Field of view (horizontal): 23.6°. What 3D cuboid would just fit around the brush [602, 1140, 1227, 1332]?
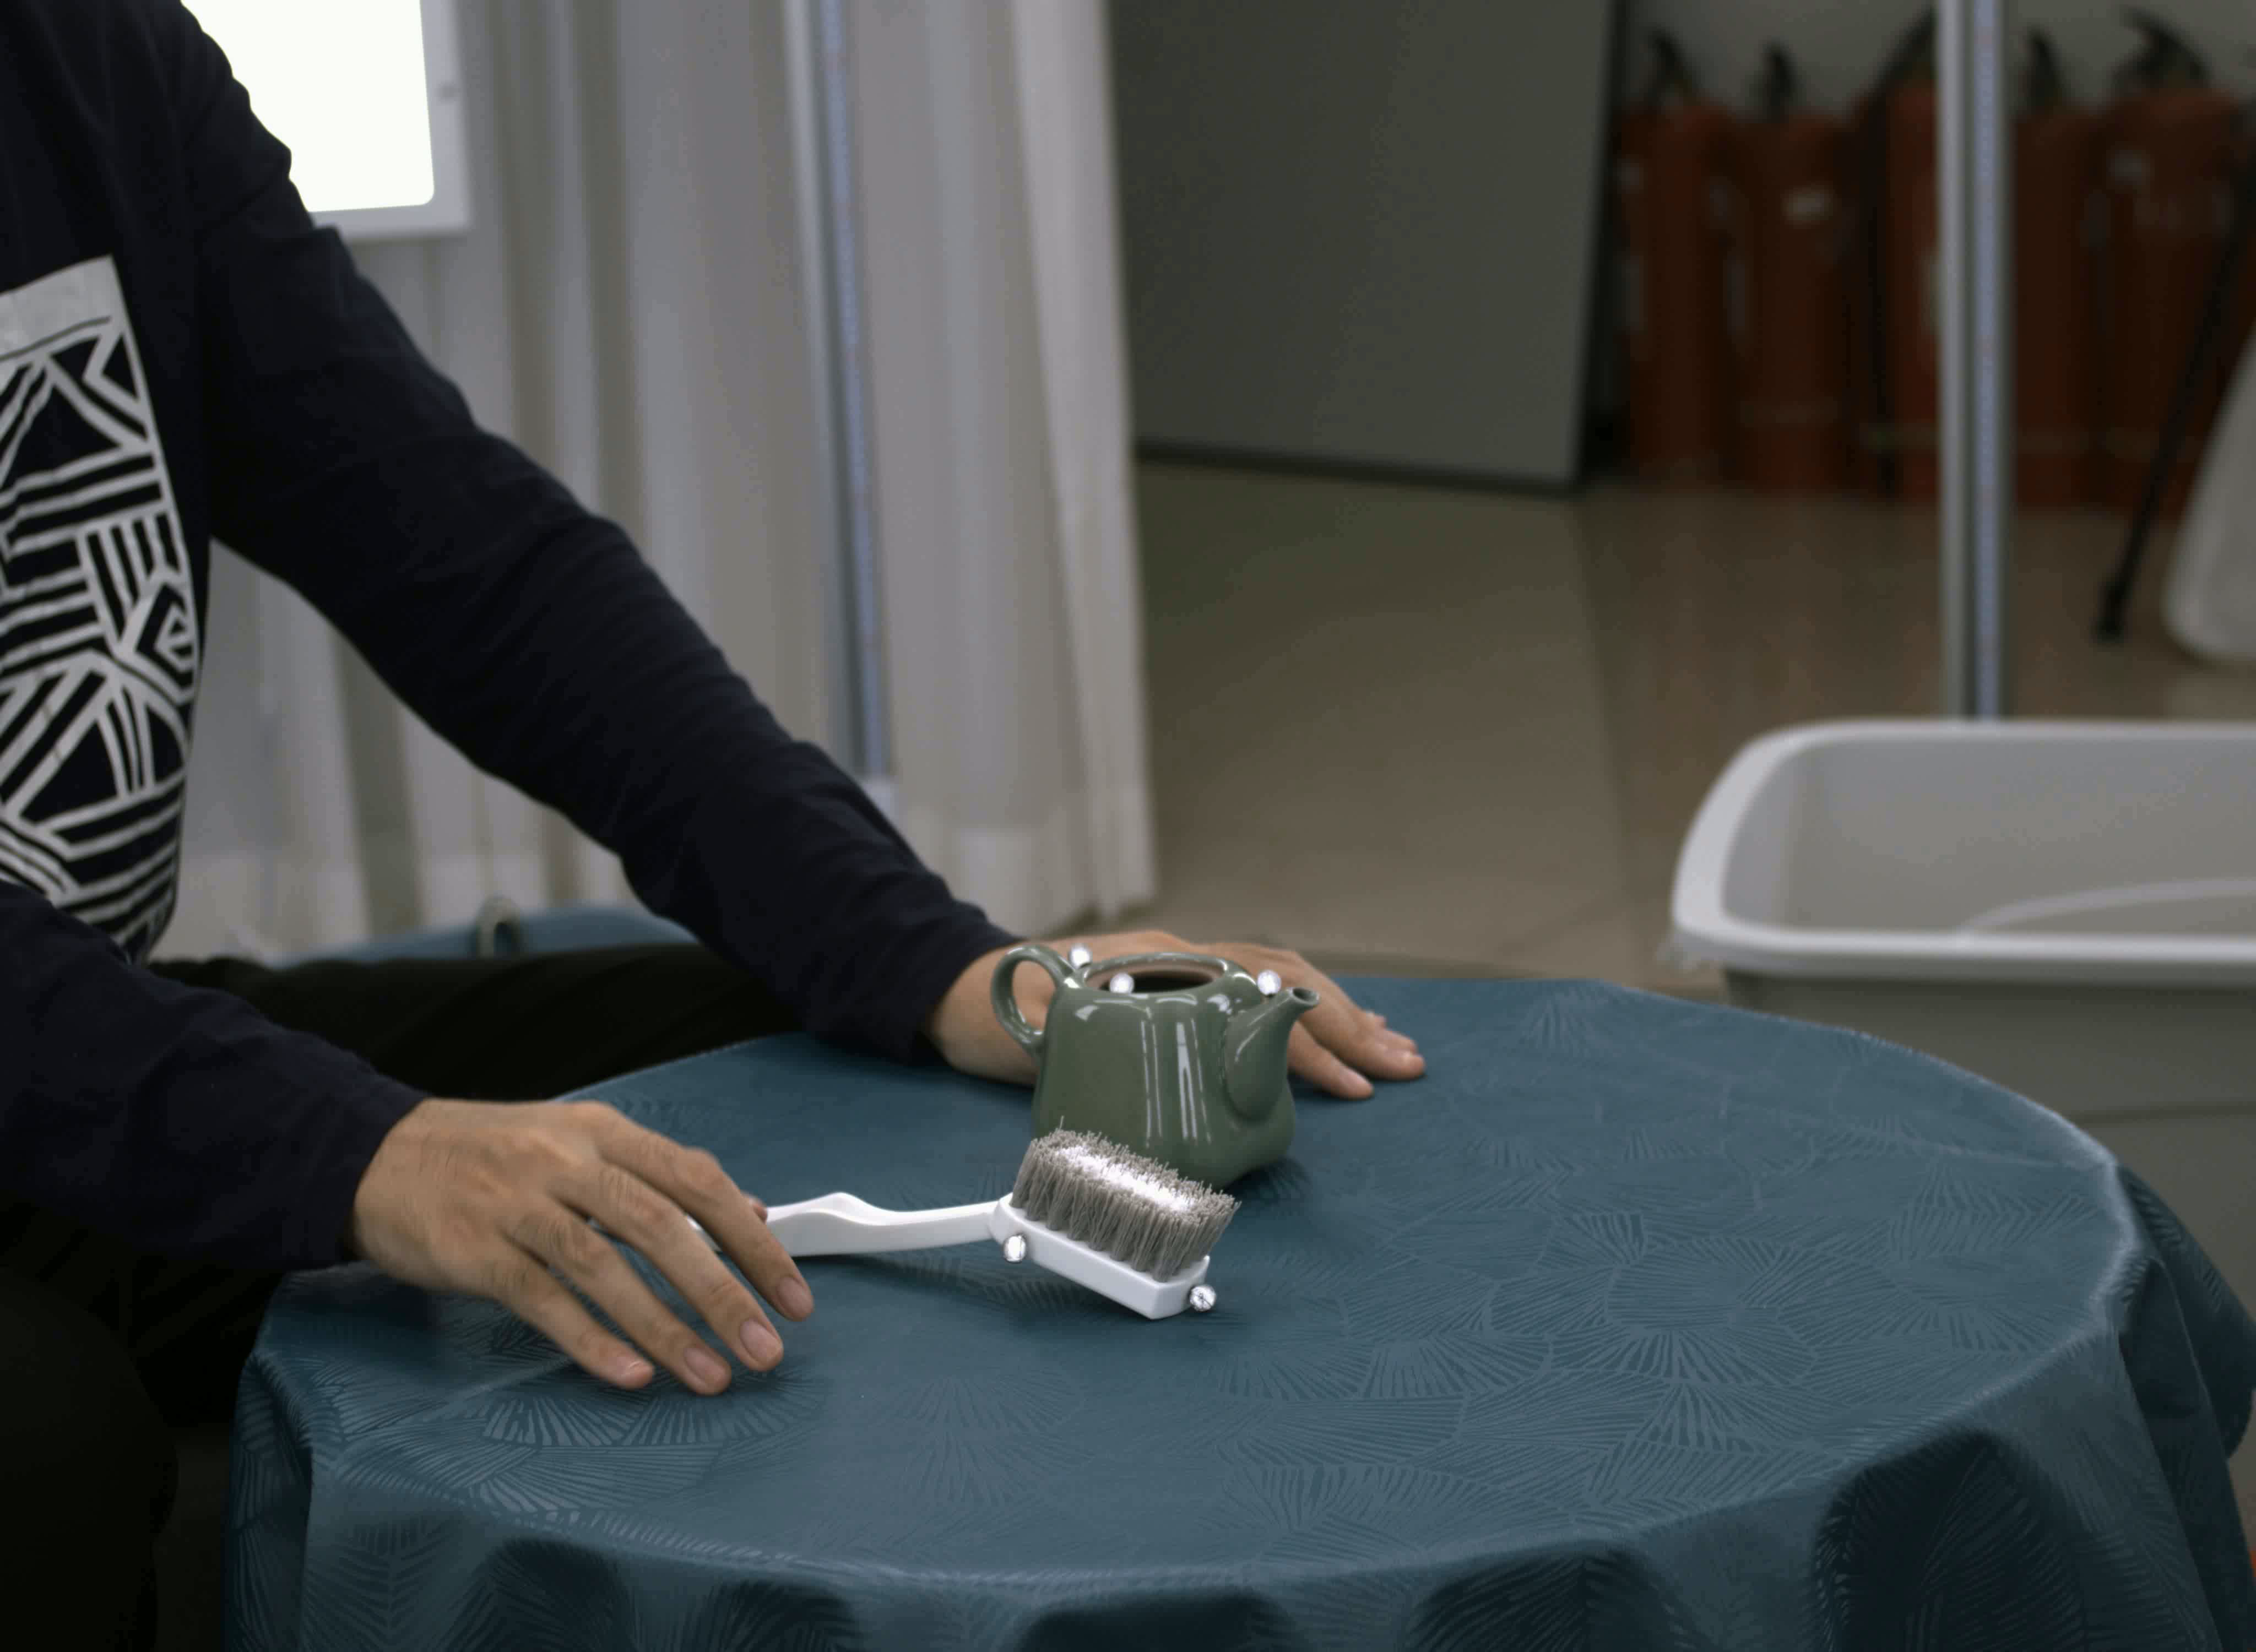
[{"bbox_3d":[-0.074,0.118,1.711,0.245,0.051,0.034,7,21,36],"label":"brush"}]

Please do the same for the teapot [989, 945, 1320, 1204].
[{"bbox_3d":[0.010,0.081,1.782,0.133,0.076,0.078,5,16,36],"label":"teapot"}]
